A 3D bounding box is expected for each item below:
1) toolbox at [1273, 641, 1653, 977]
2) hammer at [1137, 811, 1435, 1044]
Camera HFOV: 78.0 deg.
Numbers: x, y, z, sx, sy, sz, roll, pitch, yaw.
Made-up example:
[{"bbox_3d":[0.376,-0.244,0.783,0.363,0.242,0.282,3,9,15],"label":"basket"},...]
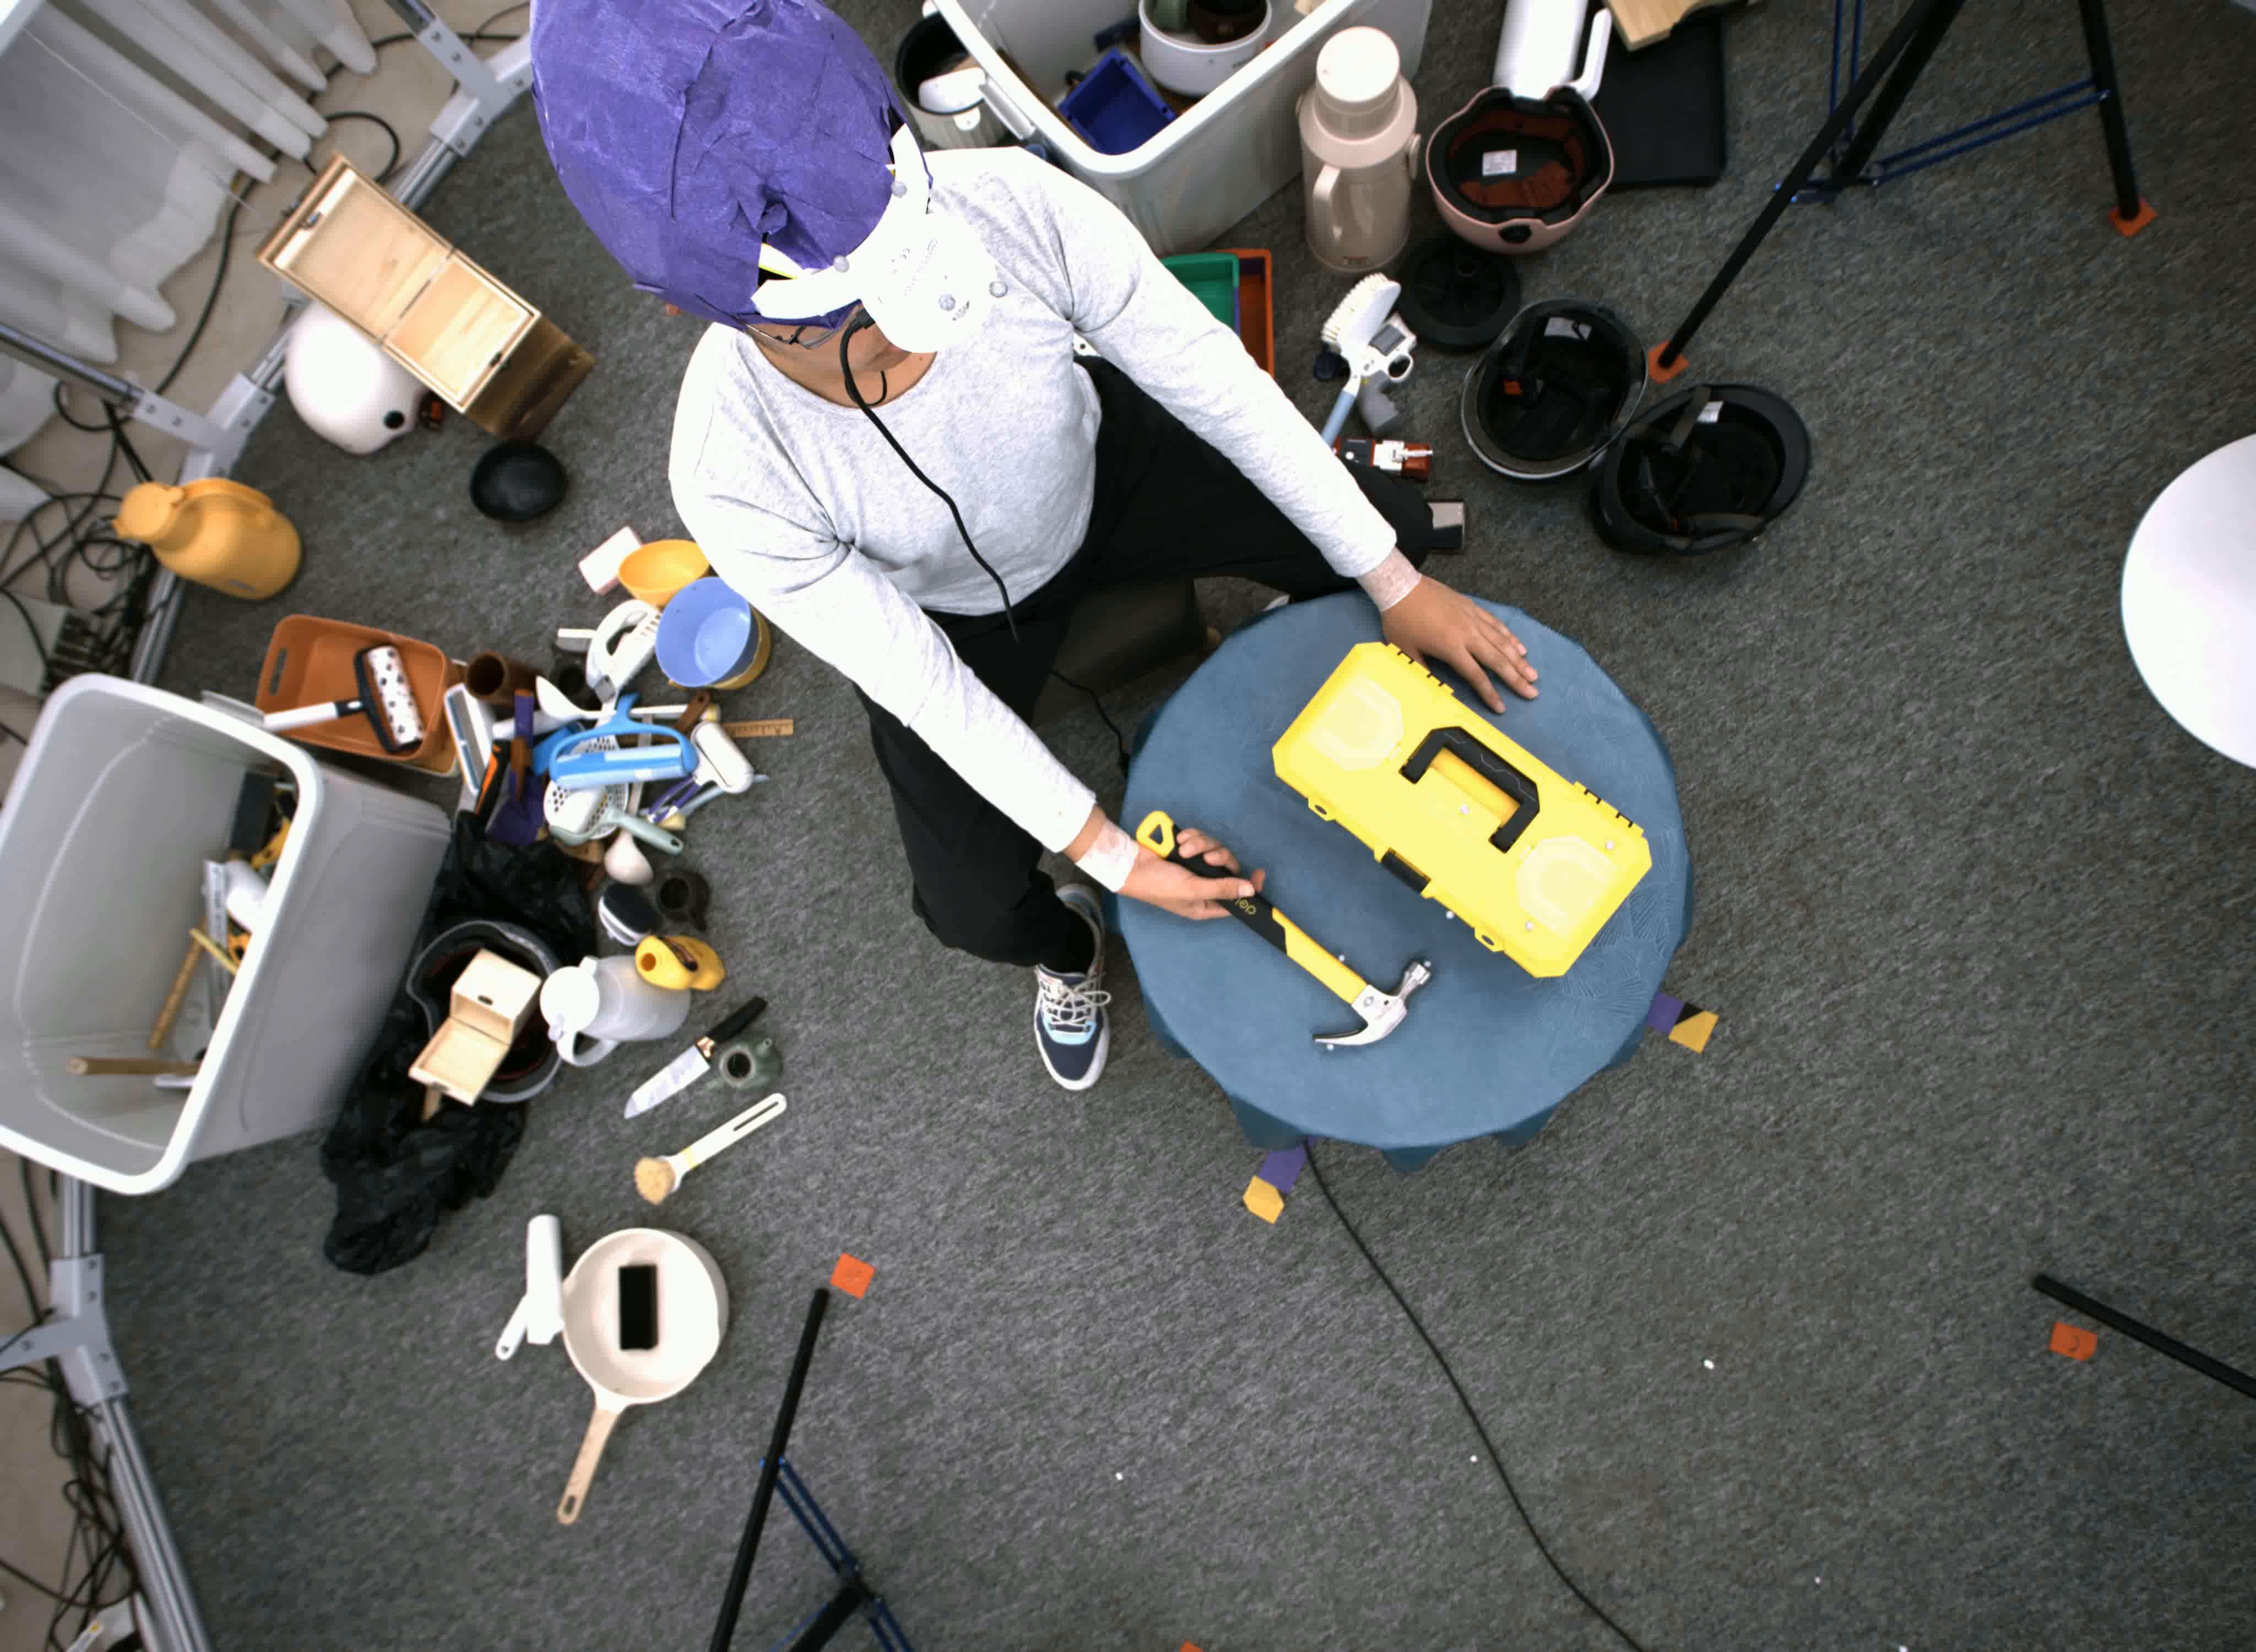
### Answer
[{"bbox_3d":[0.325,-0.015,1.367,0.350,0.173,0.182,39,93,11],"label":"toolbox"},{"bbox_3d":[0.149,0.099,1.452,0.338,0.032,0.132,39,97,5],"label":"hammer"}]
